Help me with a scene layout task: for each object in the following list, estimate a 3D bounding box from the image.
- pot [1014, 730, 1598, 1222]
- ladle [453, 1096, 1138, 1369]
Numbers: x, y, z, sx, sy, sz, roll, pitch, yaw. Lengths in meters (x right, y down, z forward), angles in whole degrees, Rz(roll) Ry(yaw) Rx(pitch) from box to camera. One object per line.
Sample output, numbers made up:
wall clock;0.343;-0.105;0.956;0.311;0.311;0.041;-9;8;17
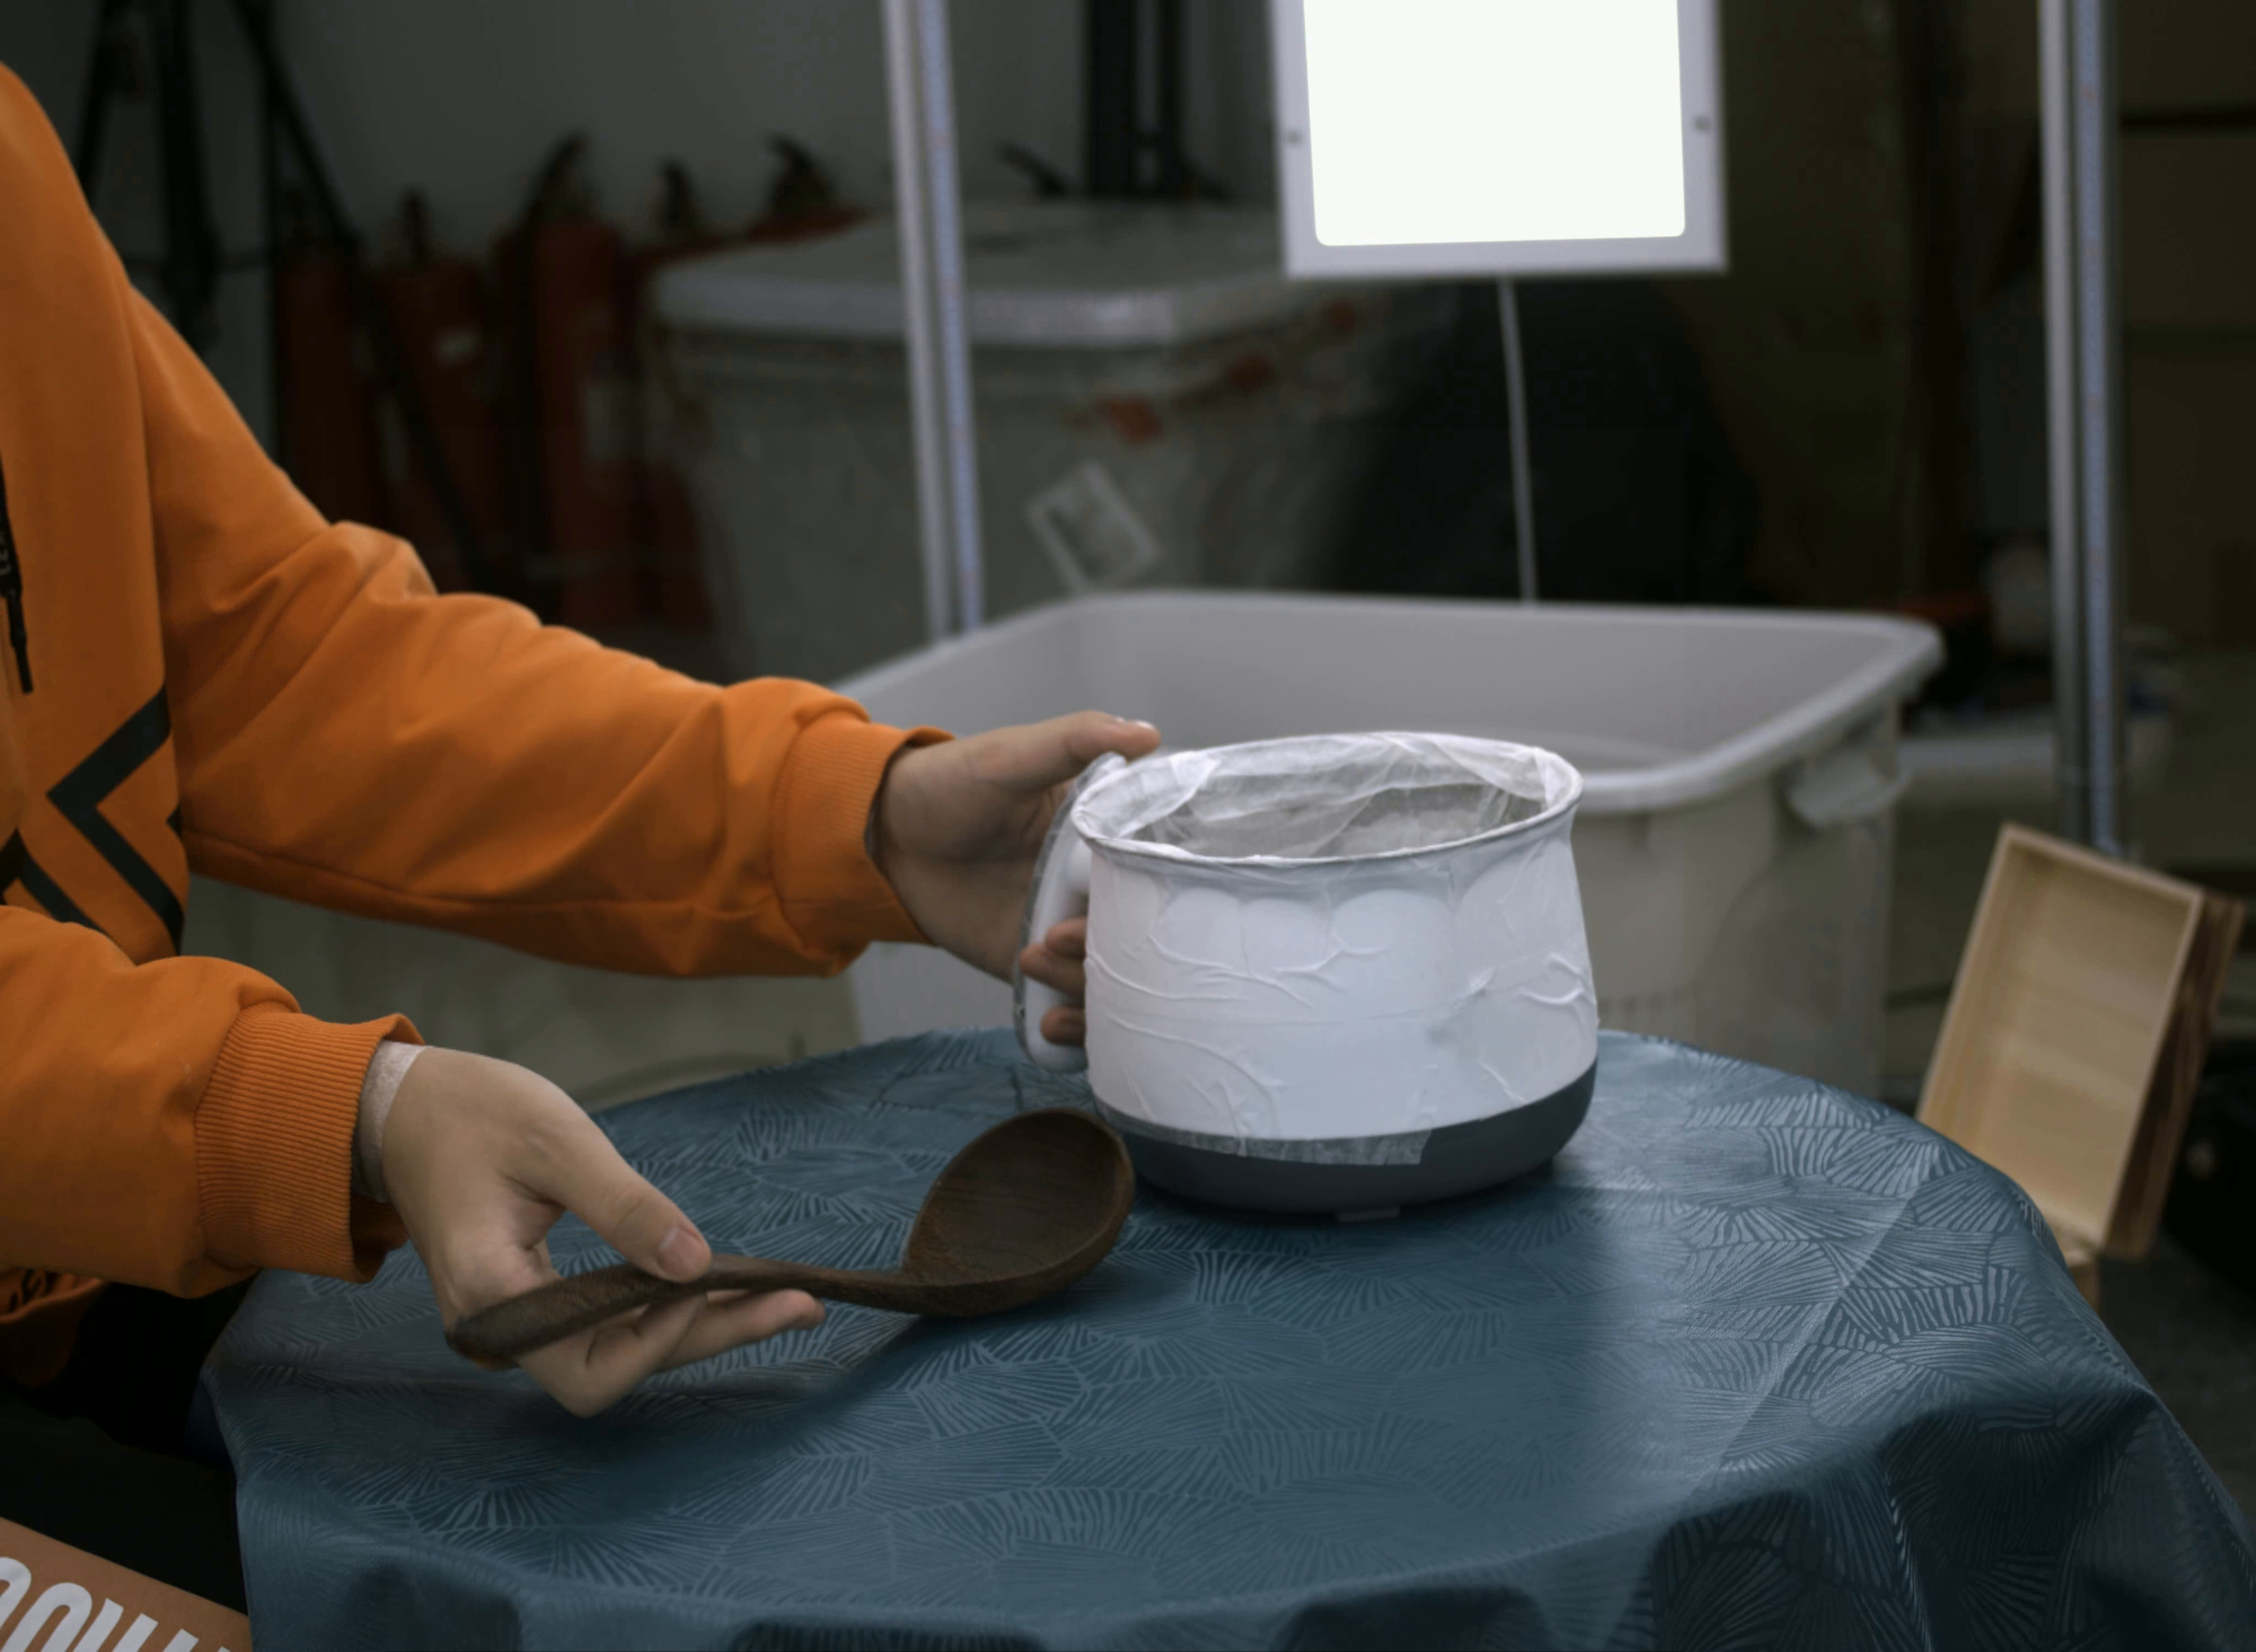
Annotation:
pot;0.051;0.047;1.912;0.239;0.137;0.174;8;18;41
ladle;-0.102;0.124;1.724;0.077;0.071;0.267;10;6;41
